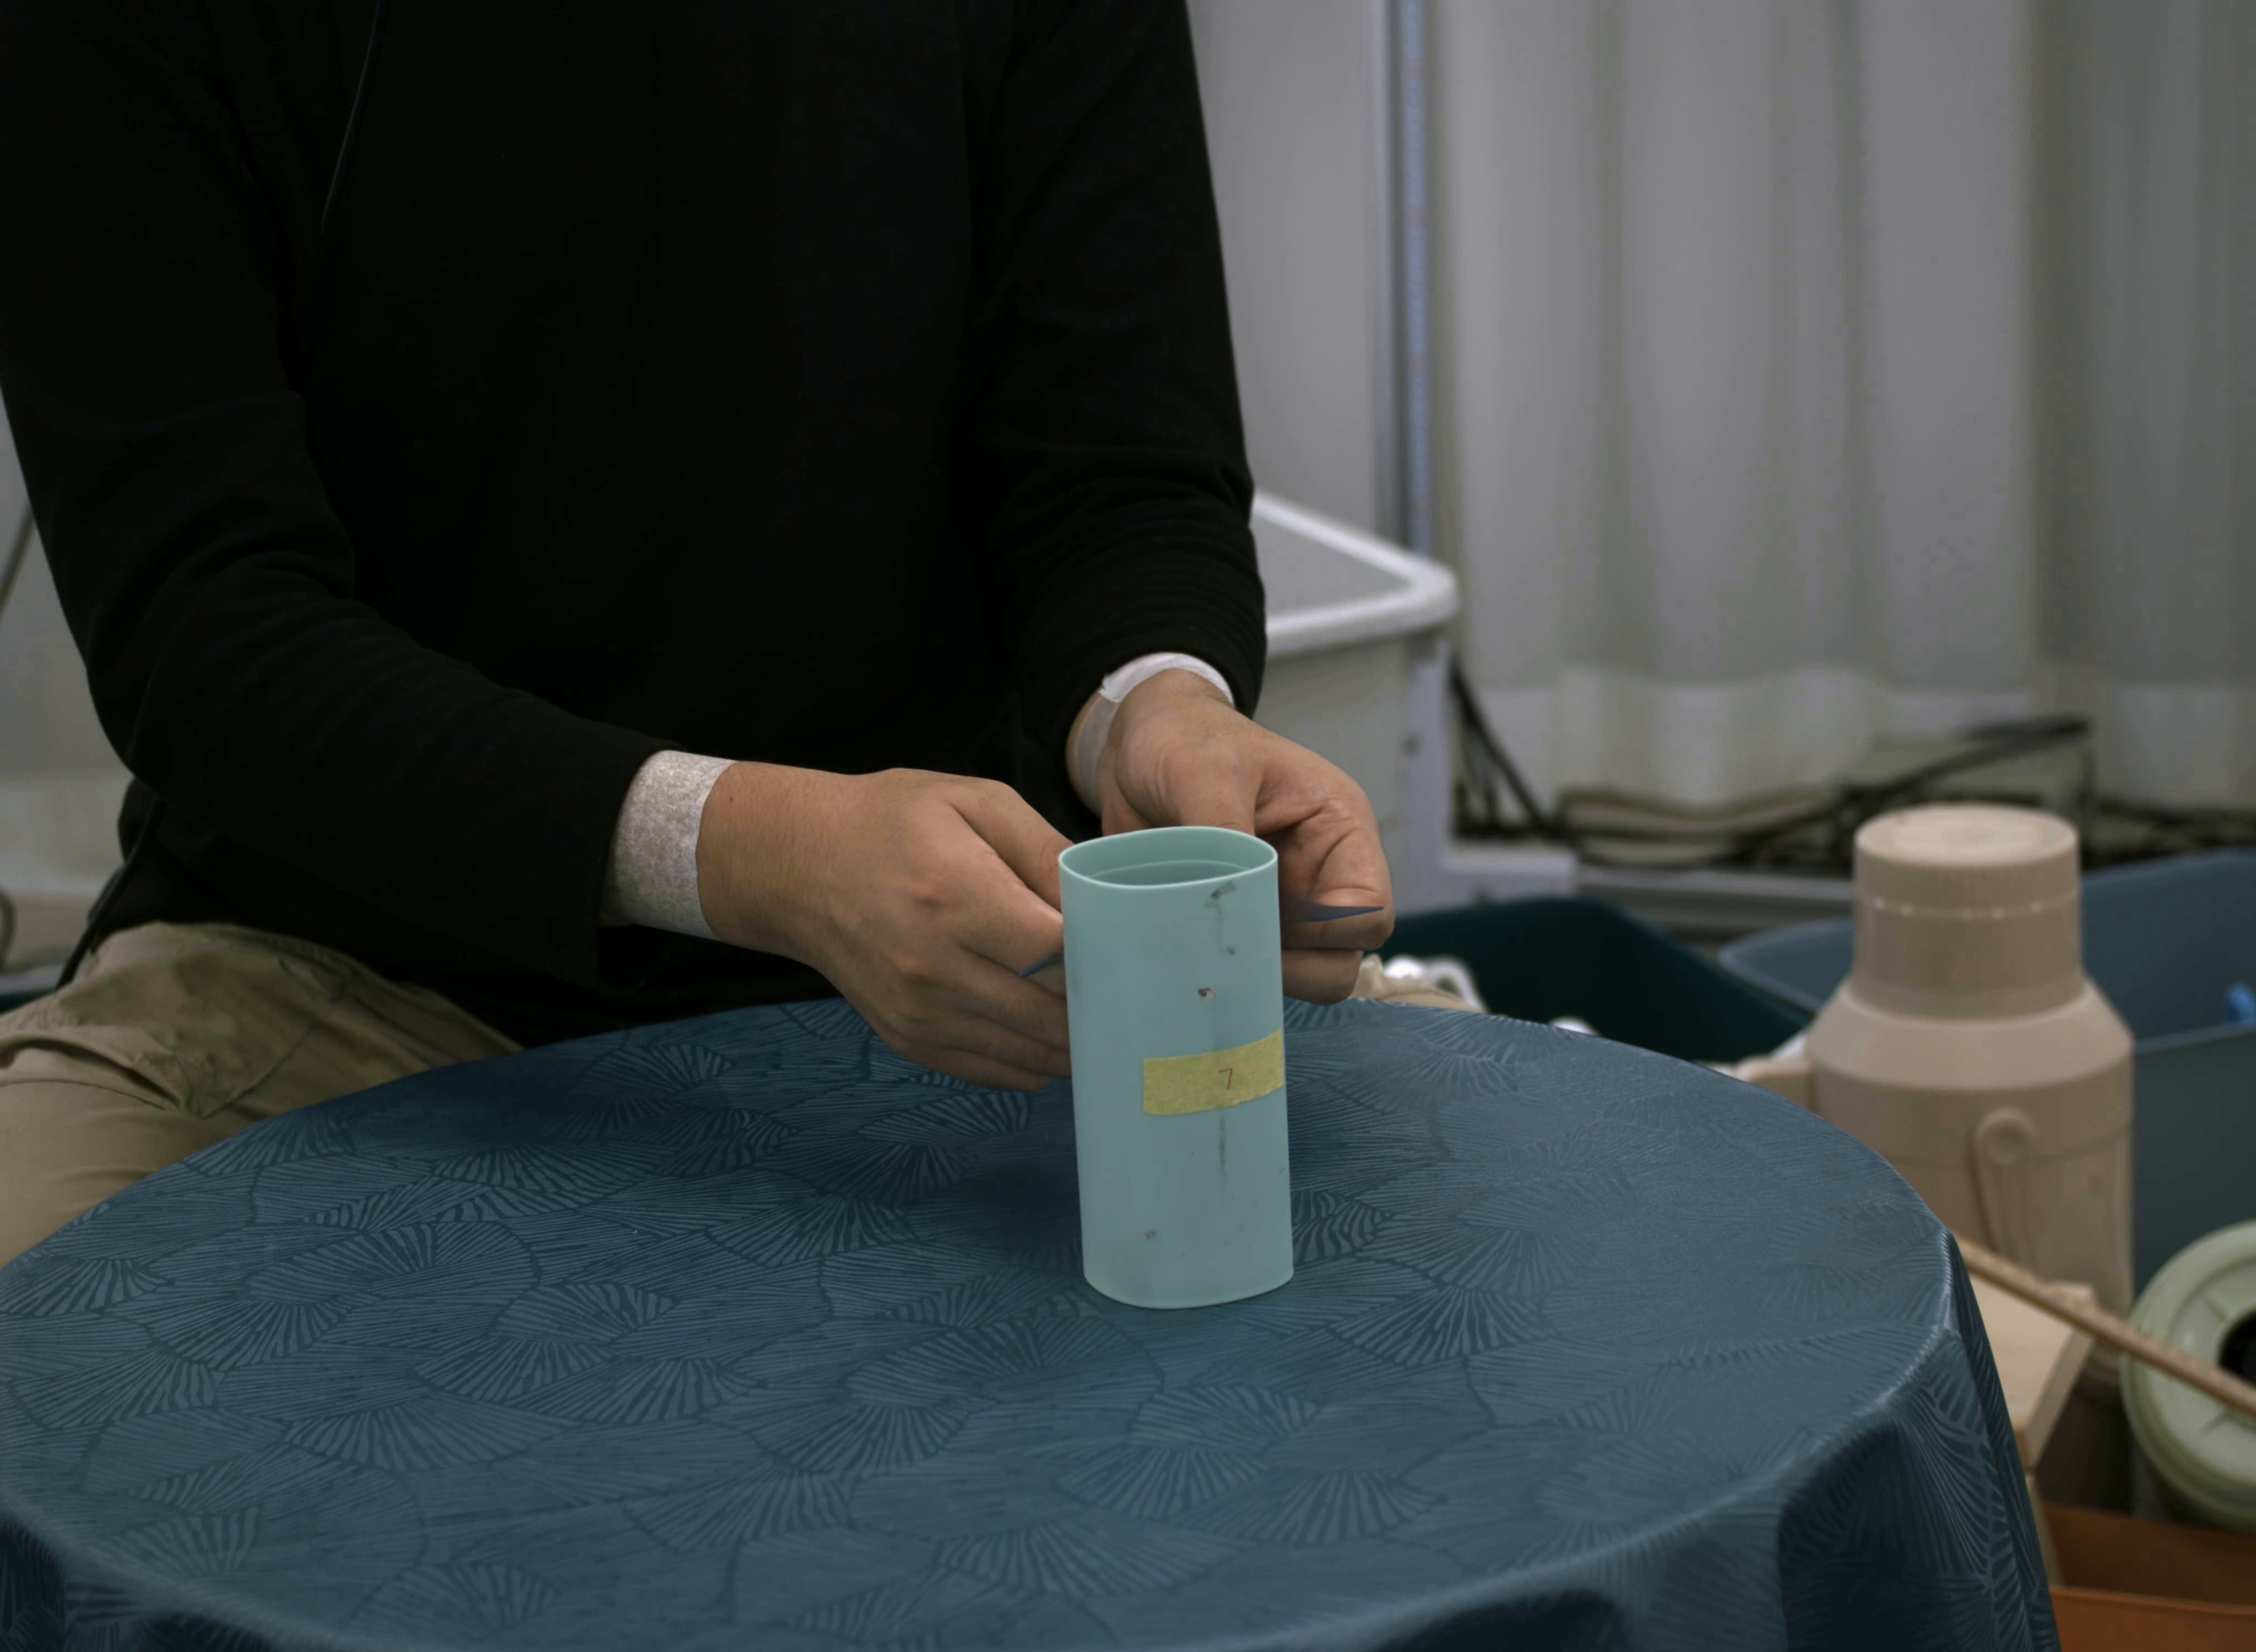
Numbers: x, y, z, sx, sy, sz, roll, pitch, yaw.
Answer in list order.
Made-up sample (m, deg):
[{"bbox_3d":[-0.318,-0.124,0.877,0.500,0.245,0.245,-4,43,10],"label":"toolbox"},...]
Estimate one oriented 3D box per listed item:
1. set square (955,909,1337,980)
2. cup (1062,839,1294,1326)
[{"bbox_3d":[-0.005,0.032,1.685,0.131,0.006,0.061,-10,12,-30],"label":"set square"},{"bbox_3d":[0.015,0.075,1.623,0.066,0.132,0.067,-3,14,0],"label":"cup"}]
